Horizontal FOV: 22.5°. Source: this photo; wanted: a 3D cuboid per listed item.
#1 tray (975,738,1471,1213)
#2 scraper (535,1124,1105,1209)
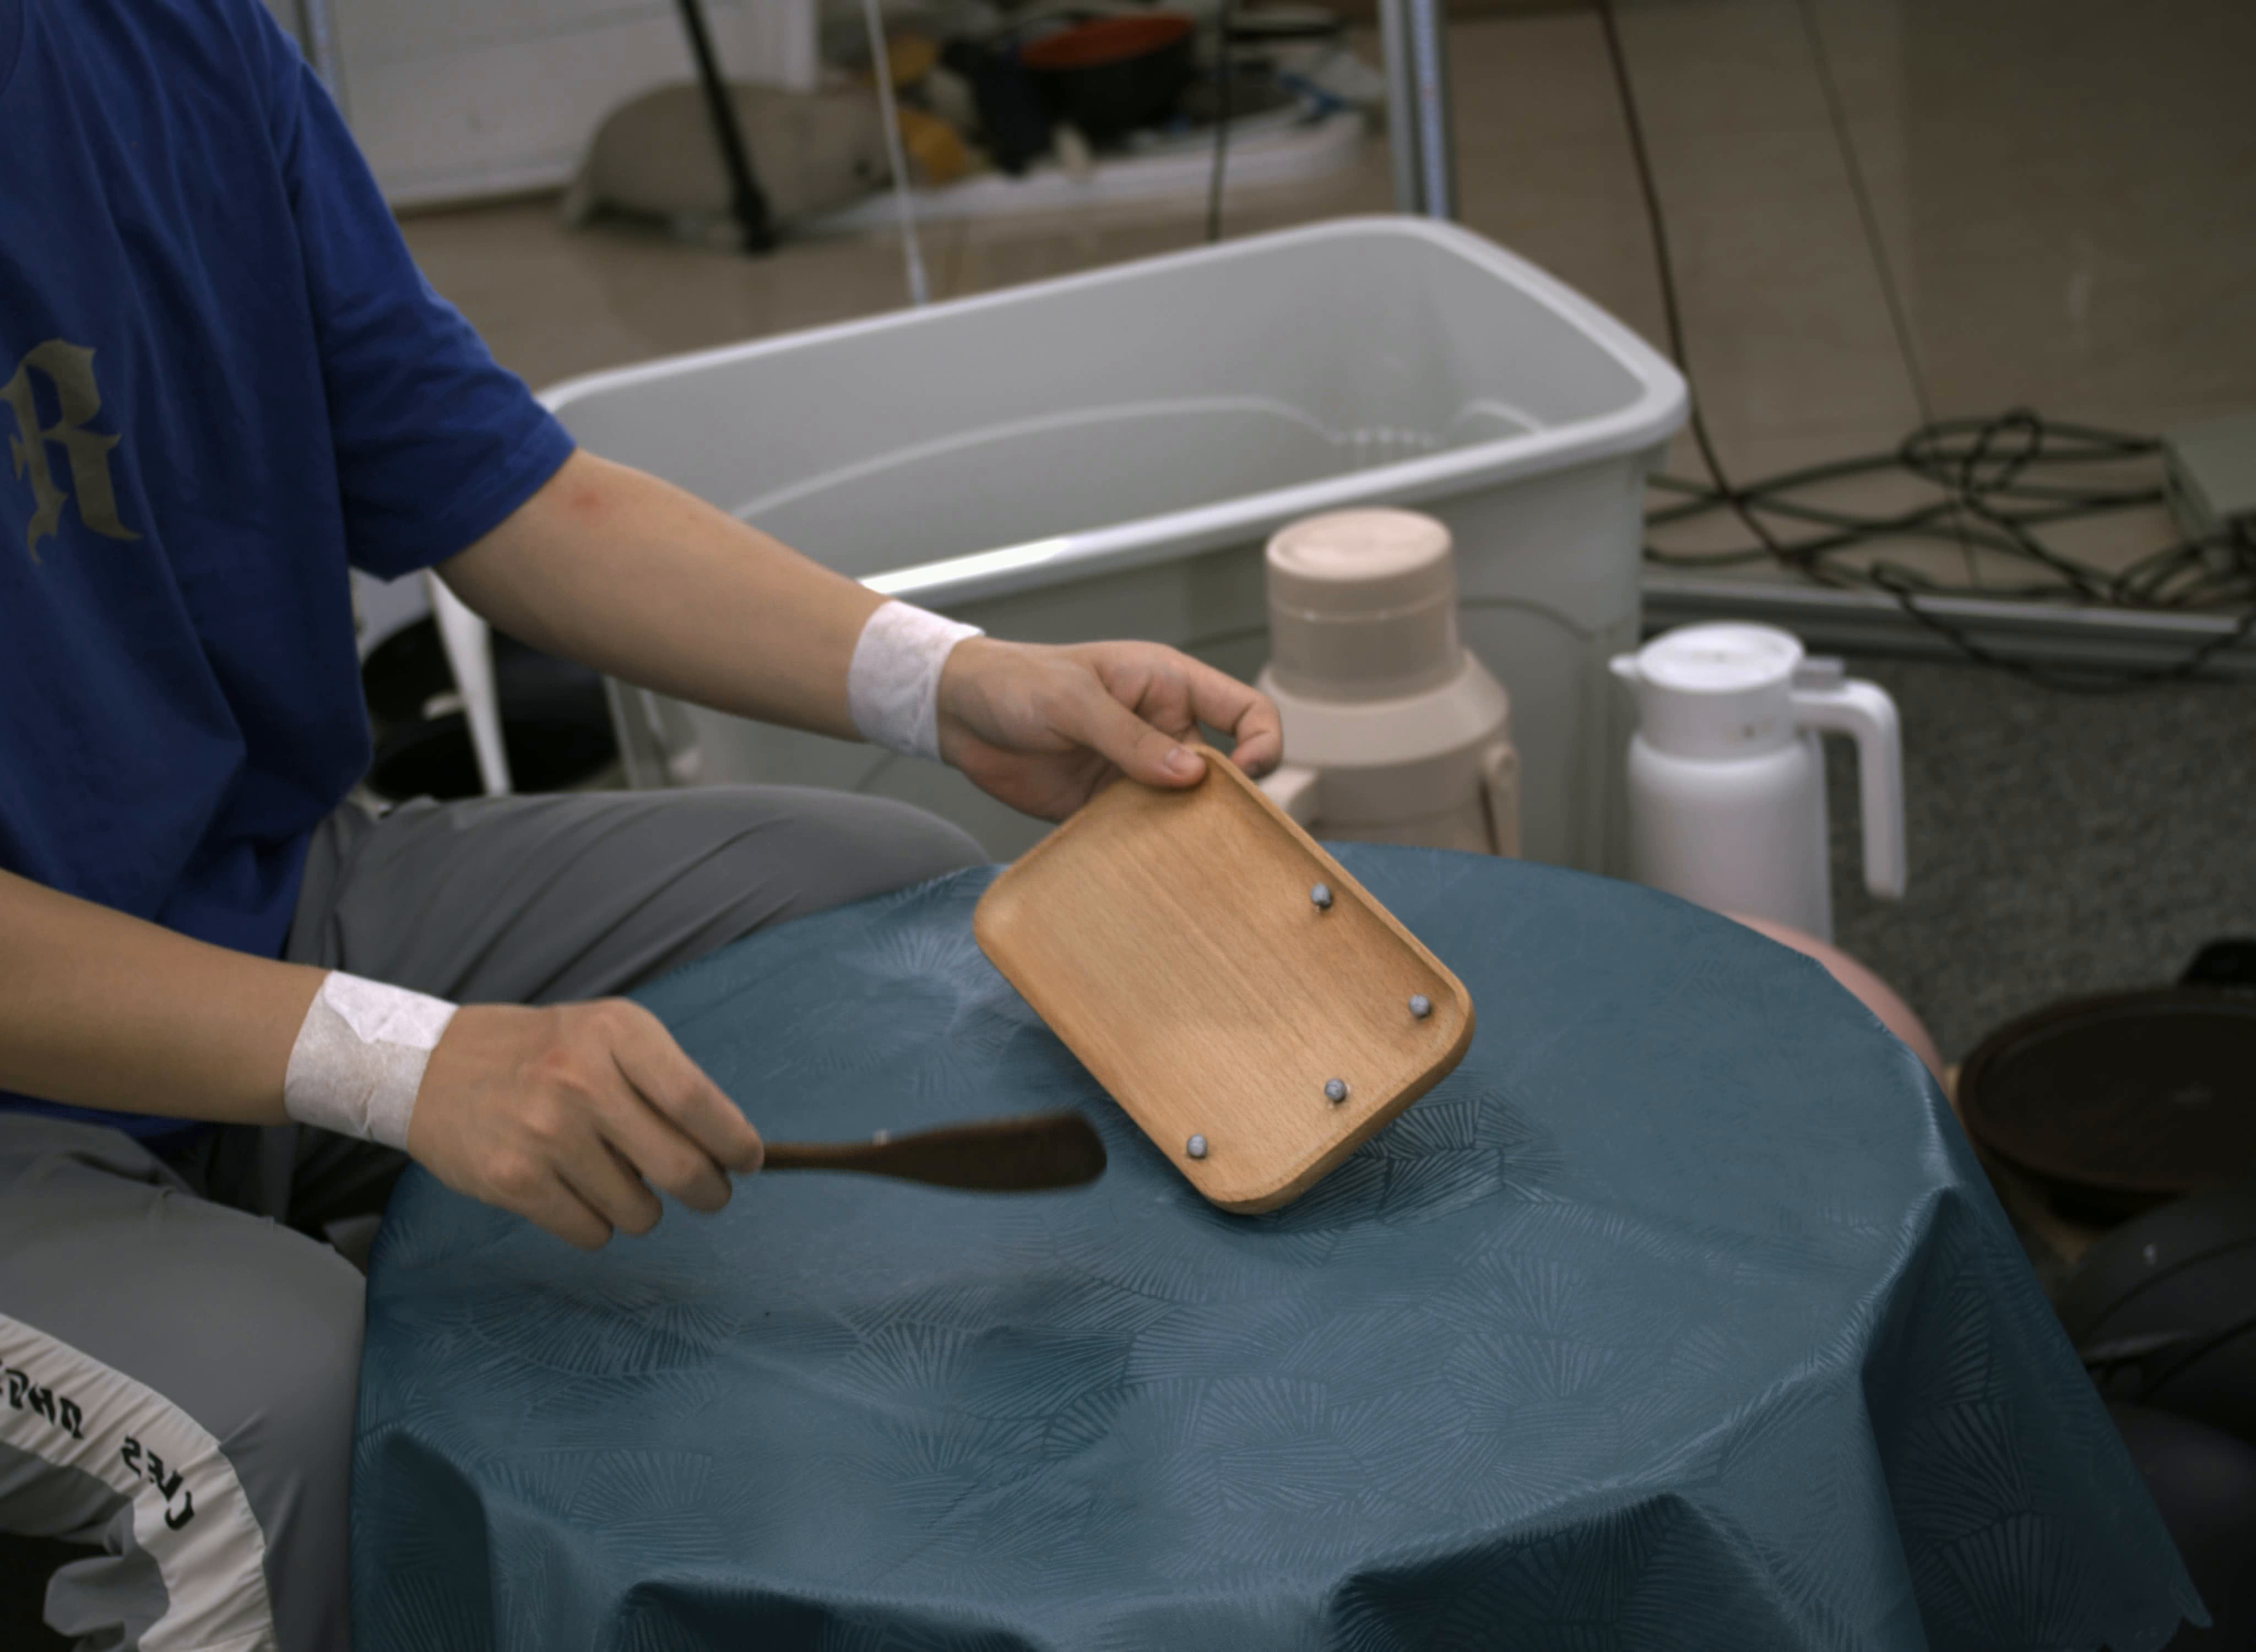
[{"bbox_3d":[0.035,0.056,2.205,0.130,0.023,0.247,-38,38,-4],"label":"tray"},{"bbox_3d":[-0.114,0.125,2.075,0.211,0.077,0.011,0,68,10],"label":"scraper"}]
